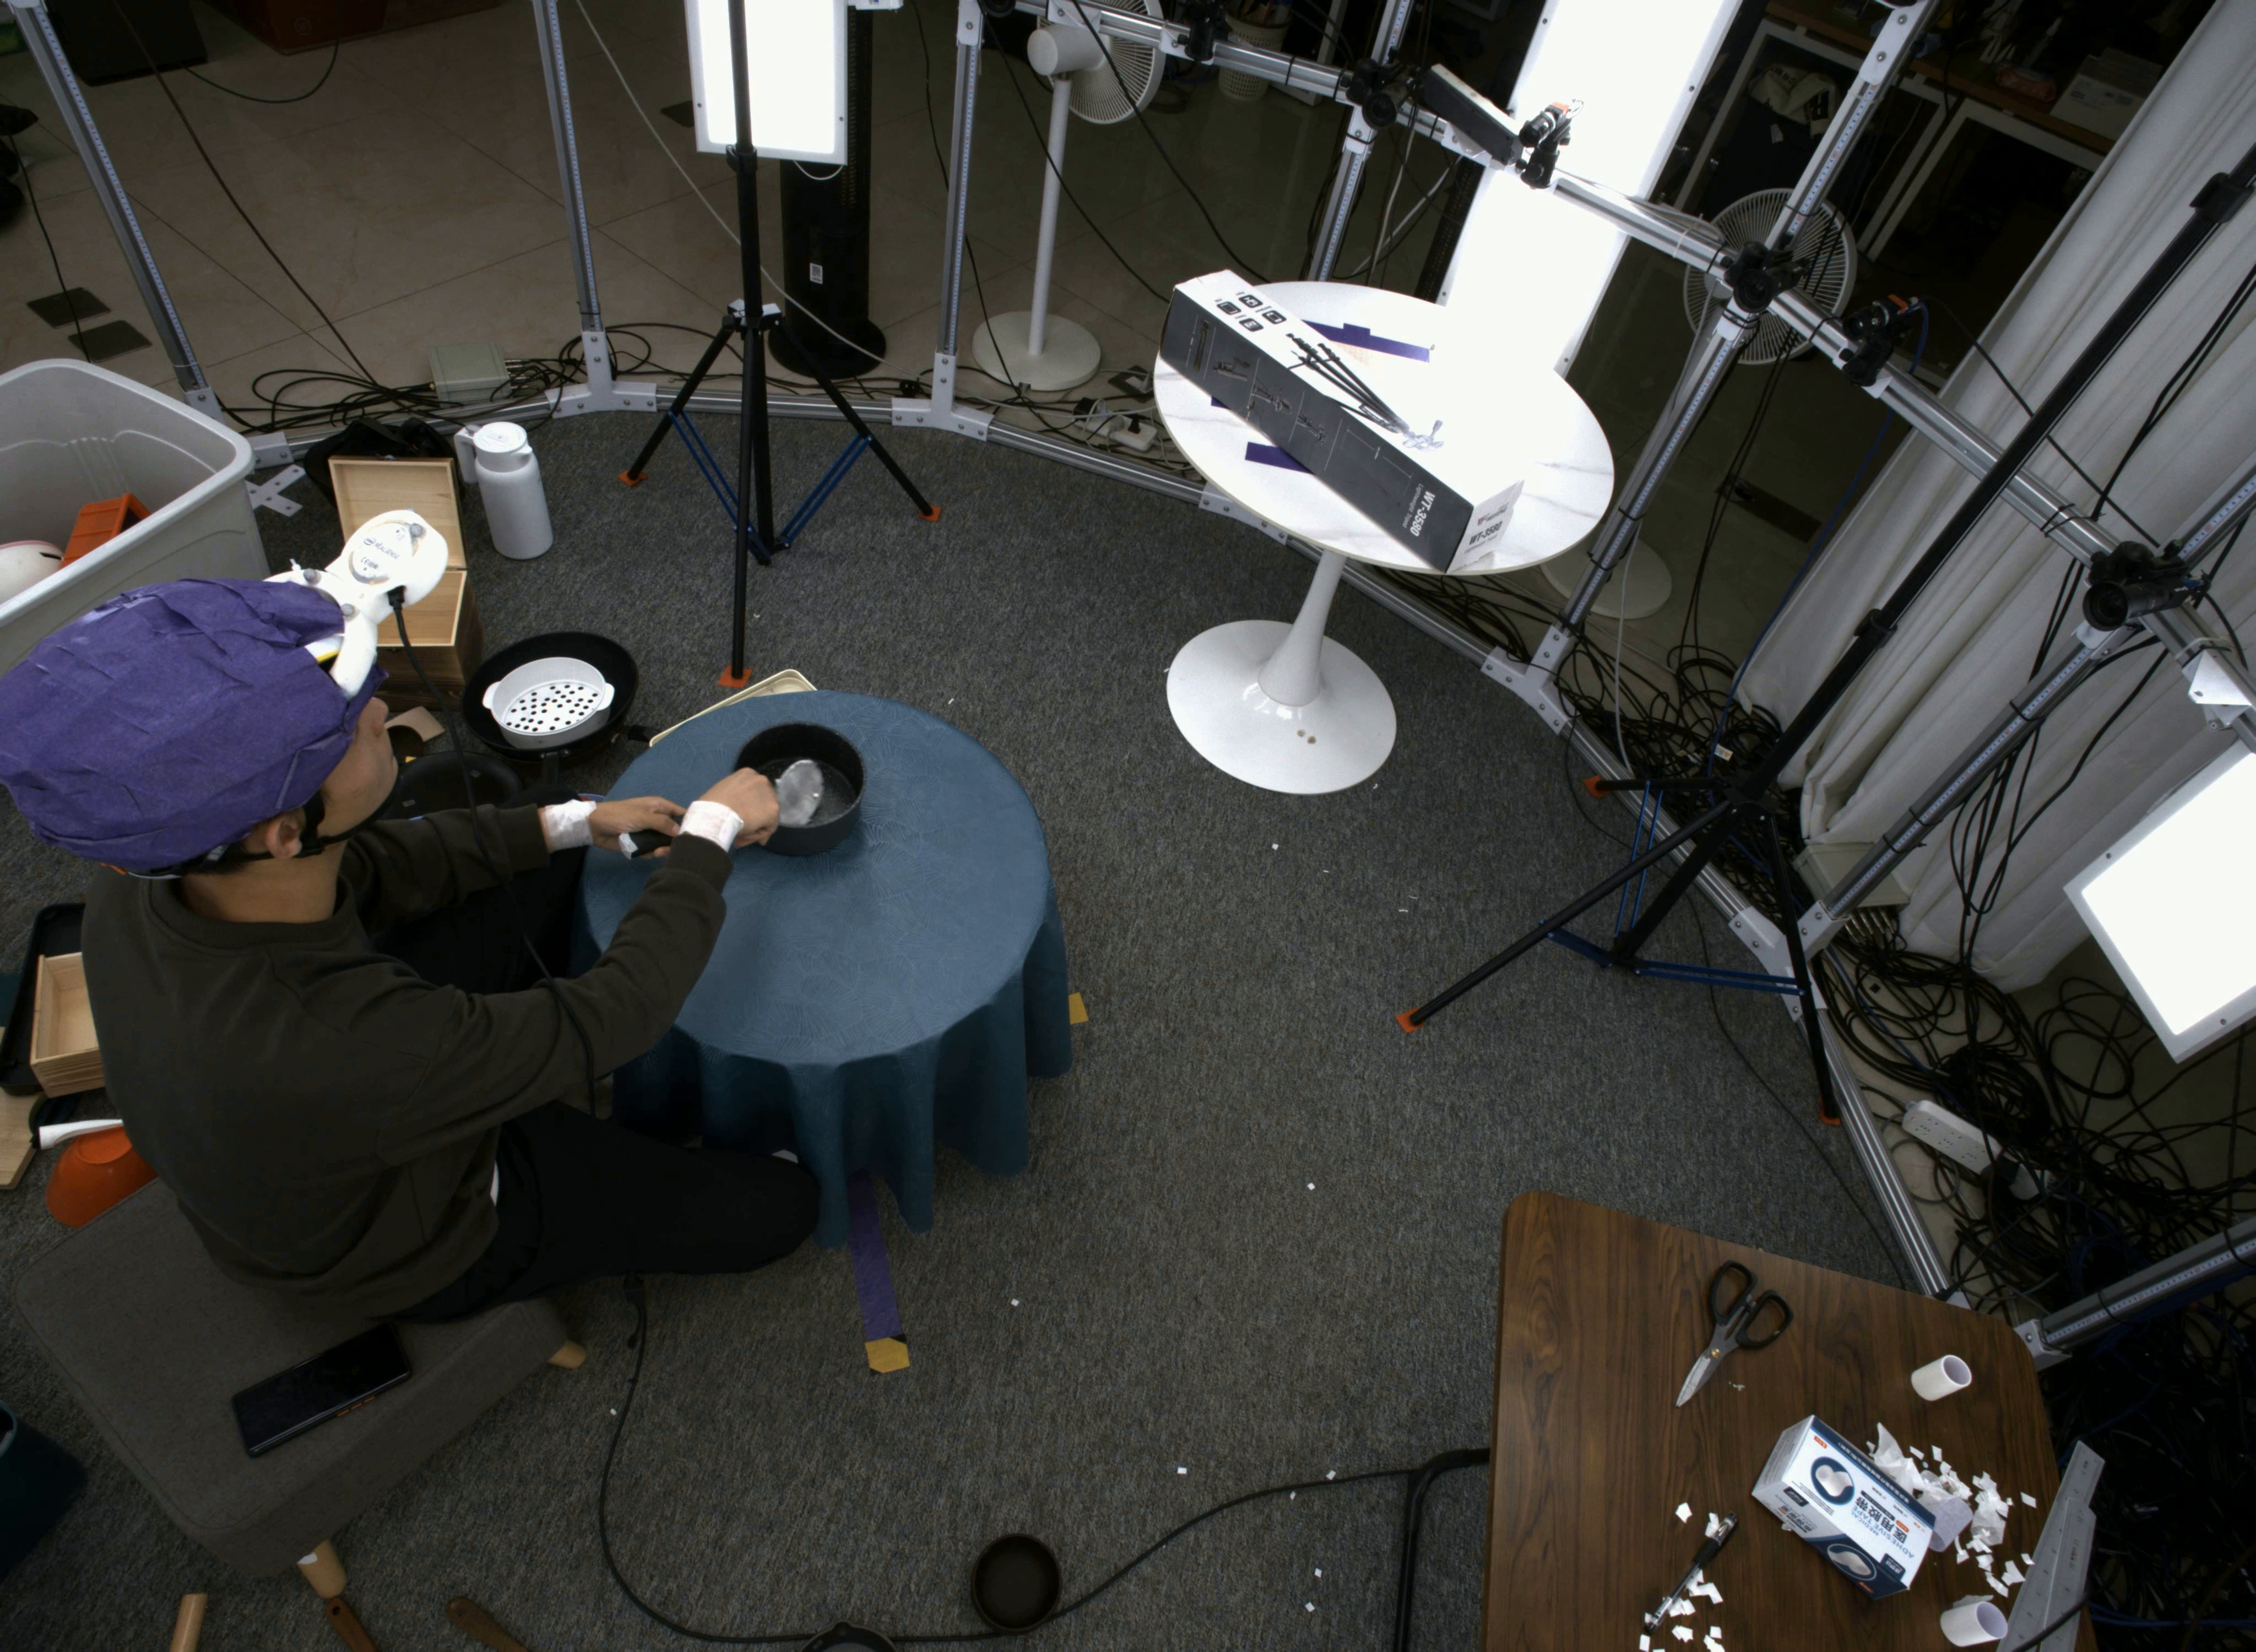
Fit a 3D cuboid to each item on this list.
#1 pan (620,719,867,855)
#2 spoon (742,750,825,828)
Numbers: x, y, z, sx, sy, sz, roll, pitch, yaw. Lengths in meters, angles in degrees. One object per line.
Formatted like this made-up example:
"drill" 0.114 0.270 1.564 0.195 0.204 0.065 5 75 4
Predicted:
"pan" -0.495 -0.023 1.671 0.330 0.088 0.168 -24 66 -31
"spoon" -0.422 -0.033 1.598 0.059 0.103 0.273 1 10 -6
